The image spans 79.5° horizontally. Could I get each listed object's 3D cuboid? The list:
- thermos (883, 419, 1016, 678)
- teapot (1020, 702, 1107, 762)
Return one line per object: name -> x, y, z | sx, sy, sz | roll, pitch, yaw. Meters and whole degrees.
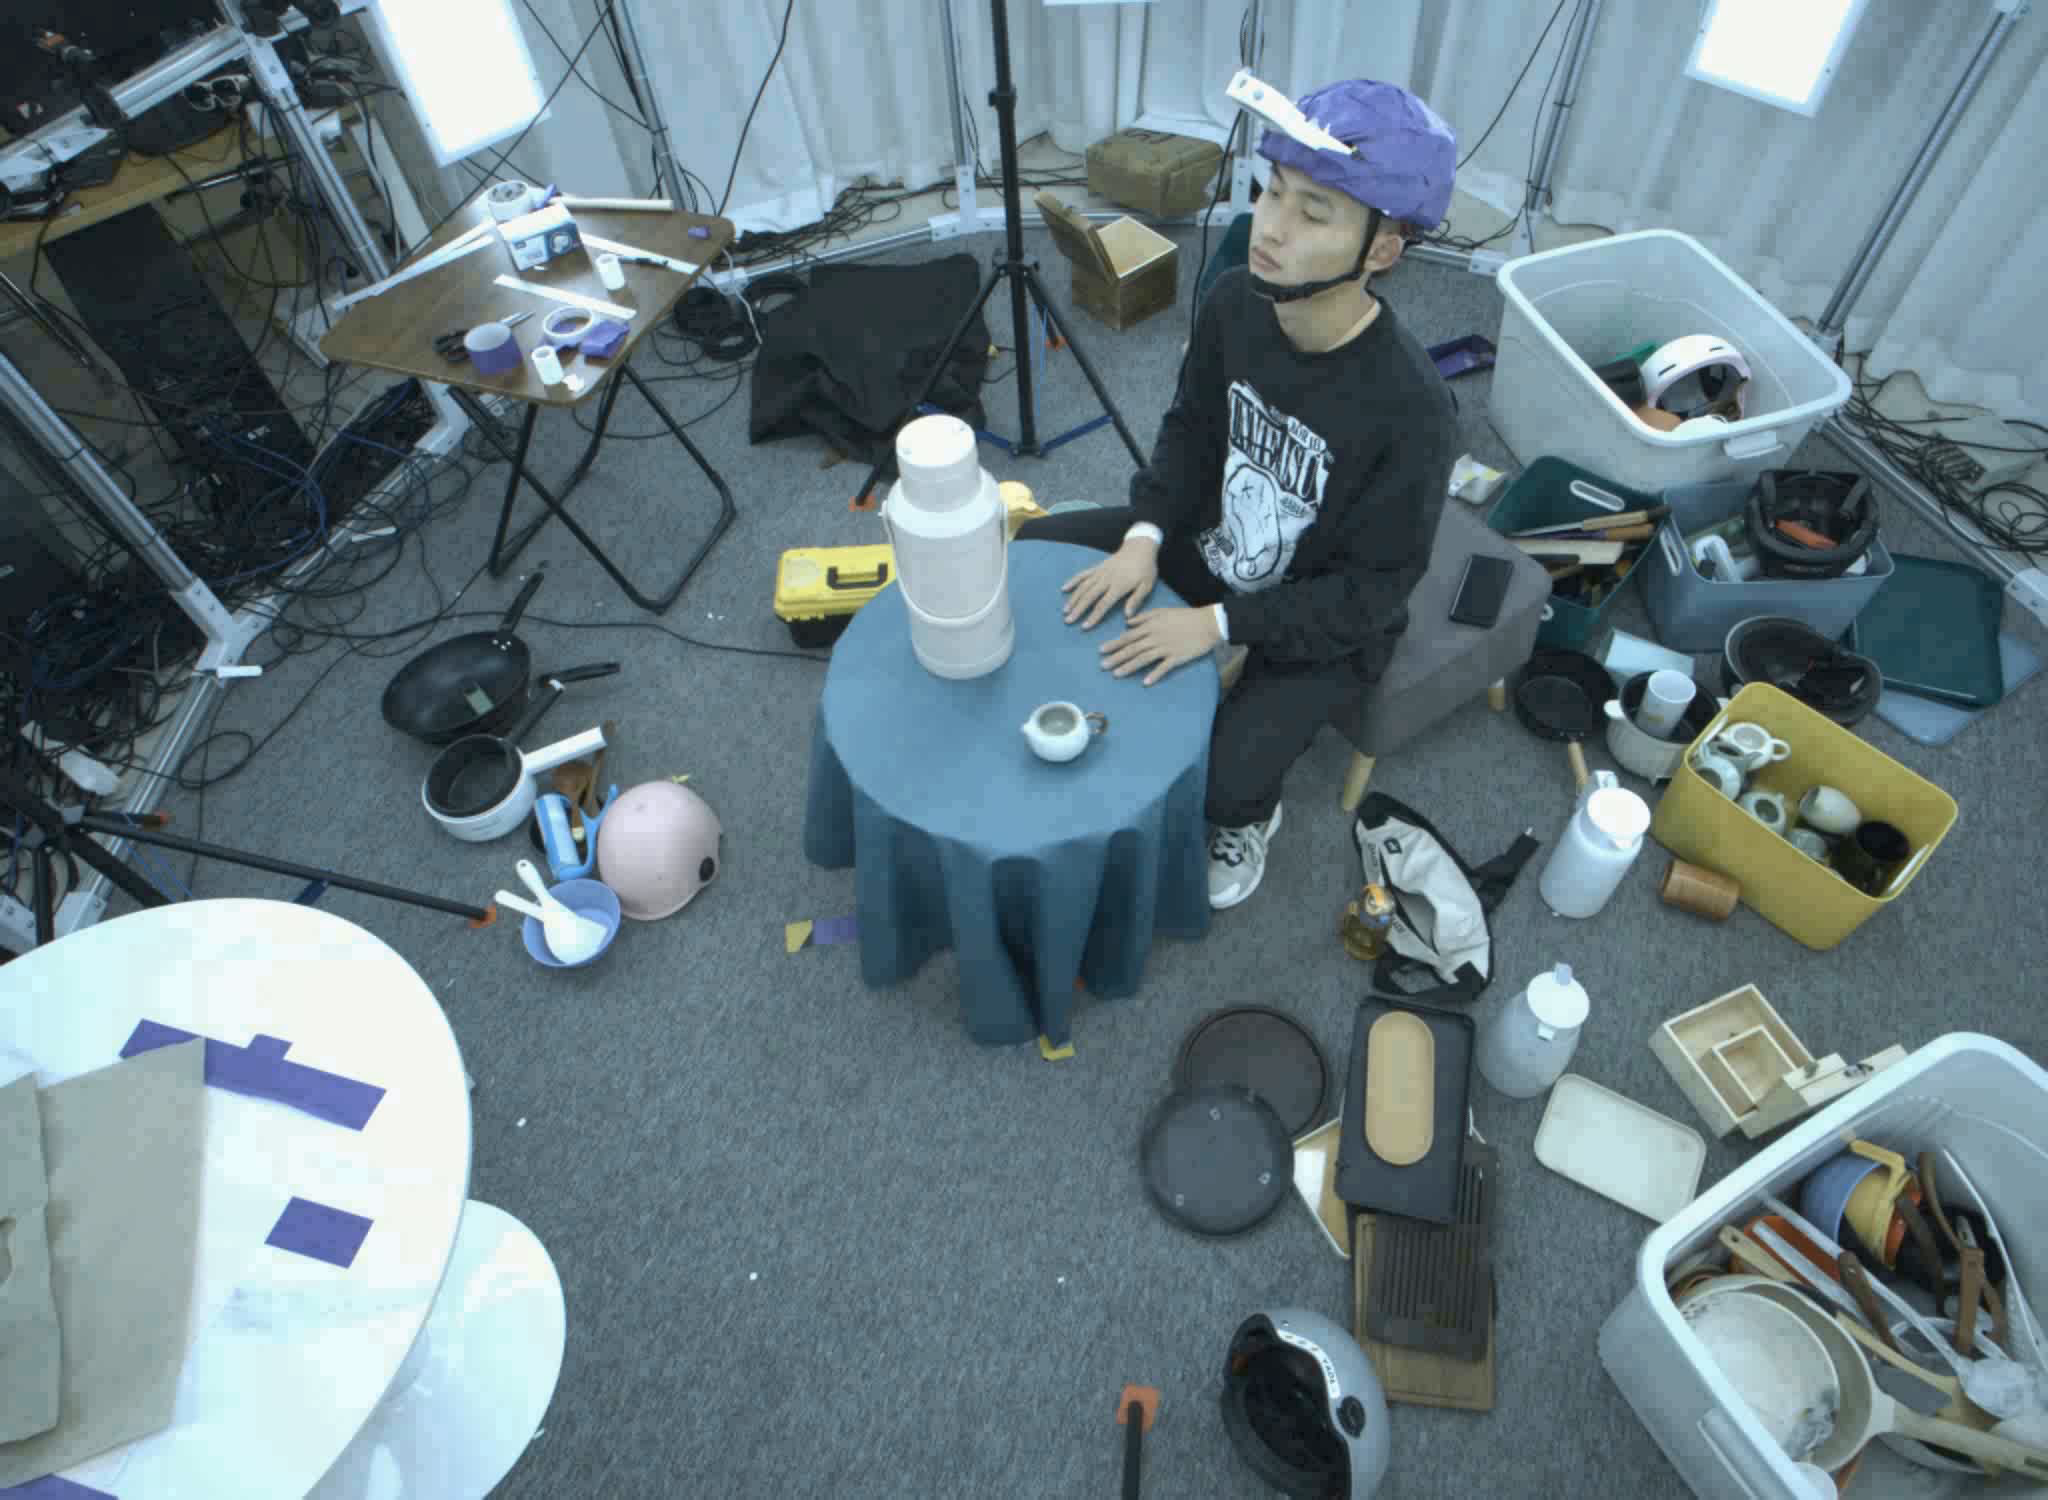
thermos -> -0.103, -0.300, 1.755 | 0.175, 0.411, 0.205 | -1, 55, 5
teapot -> 0.057, -0.027, 1.764 | 0.128, 0.060, 0.090 | -13, 51, -7
